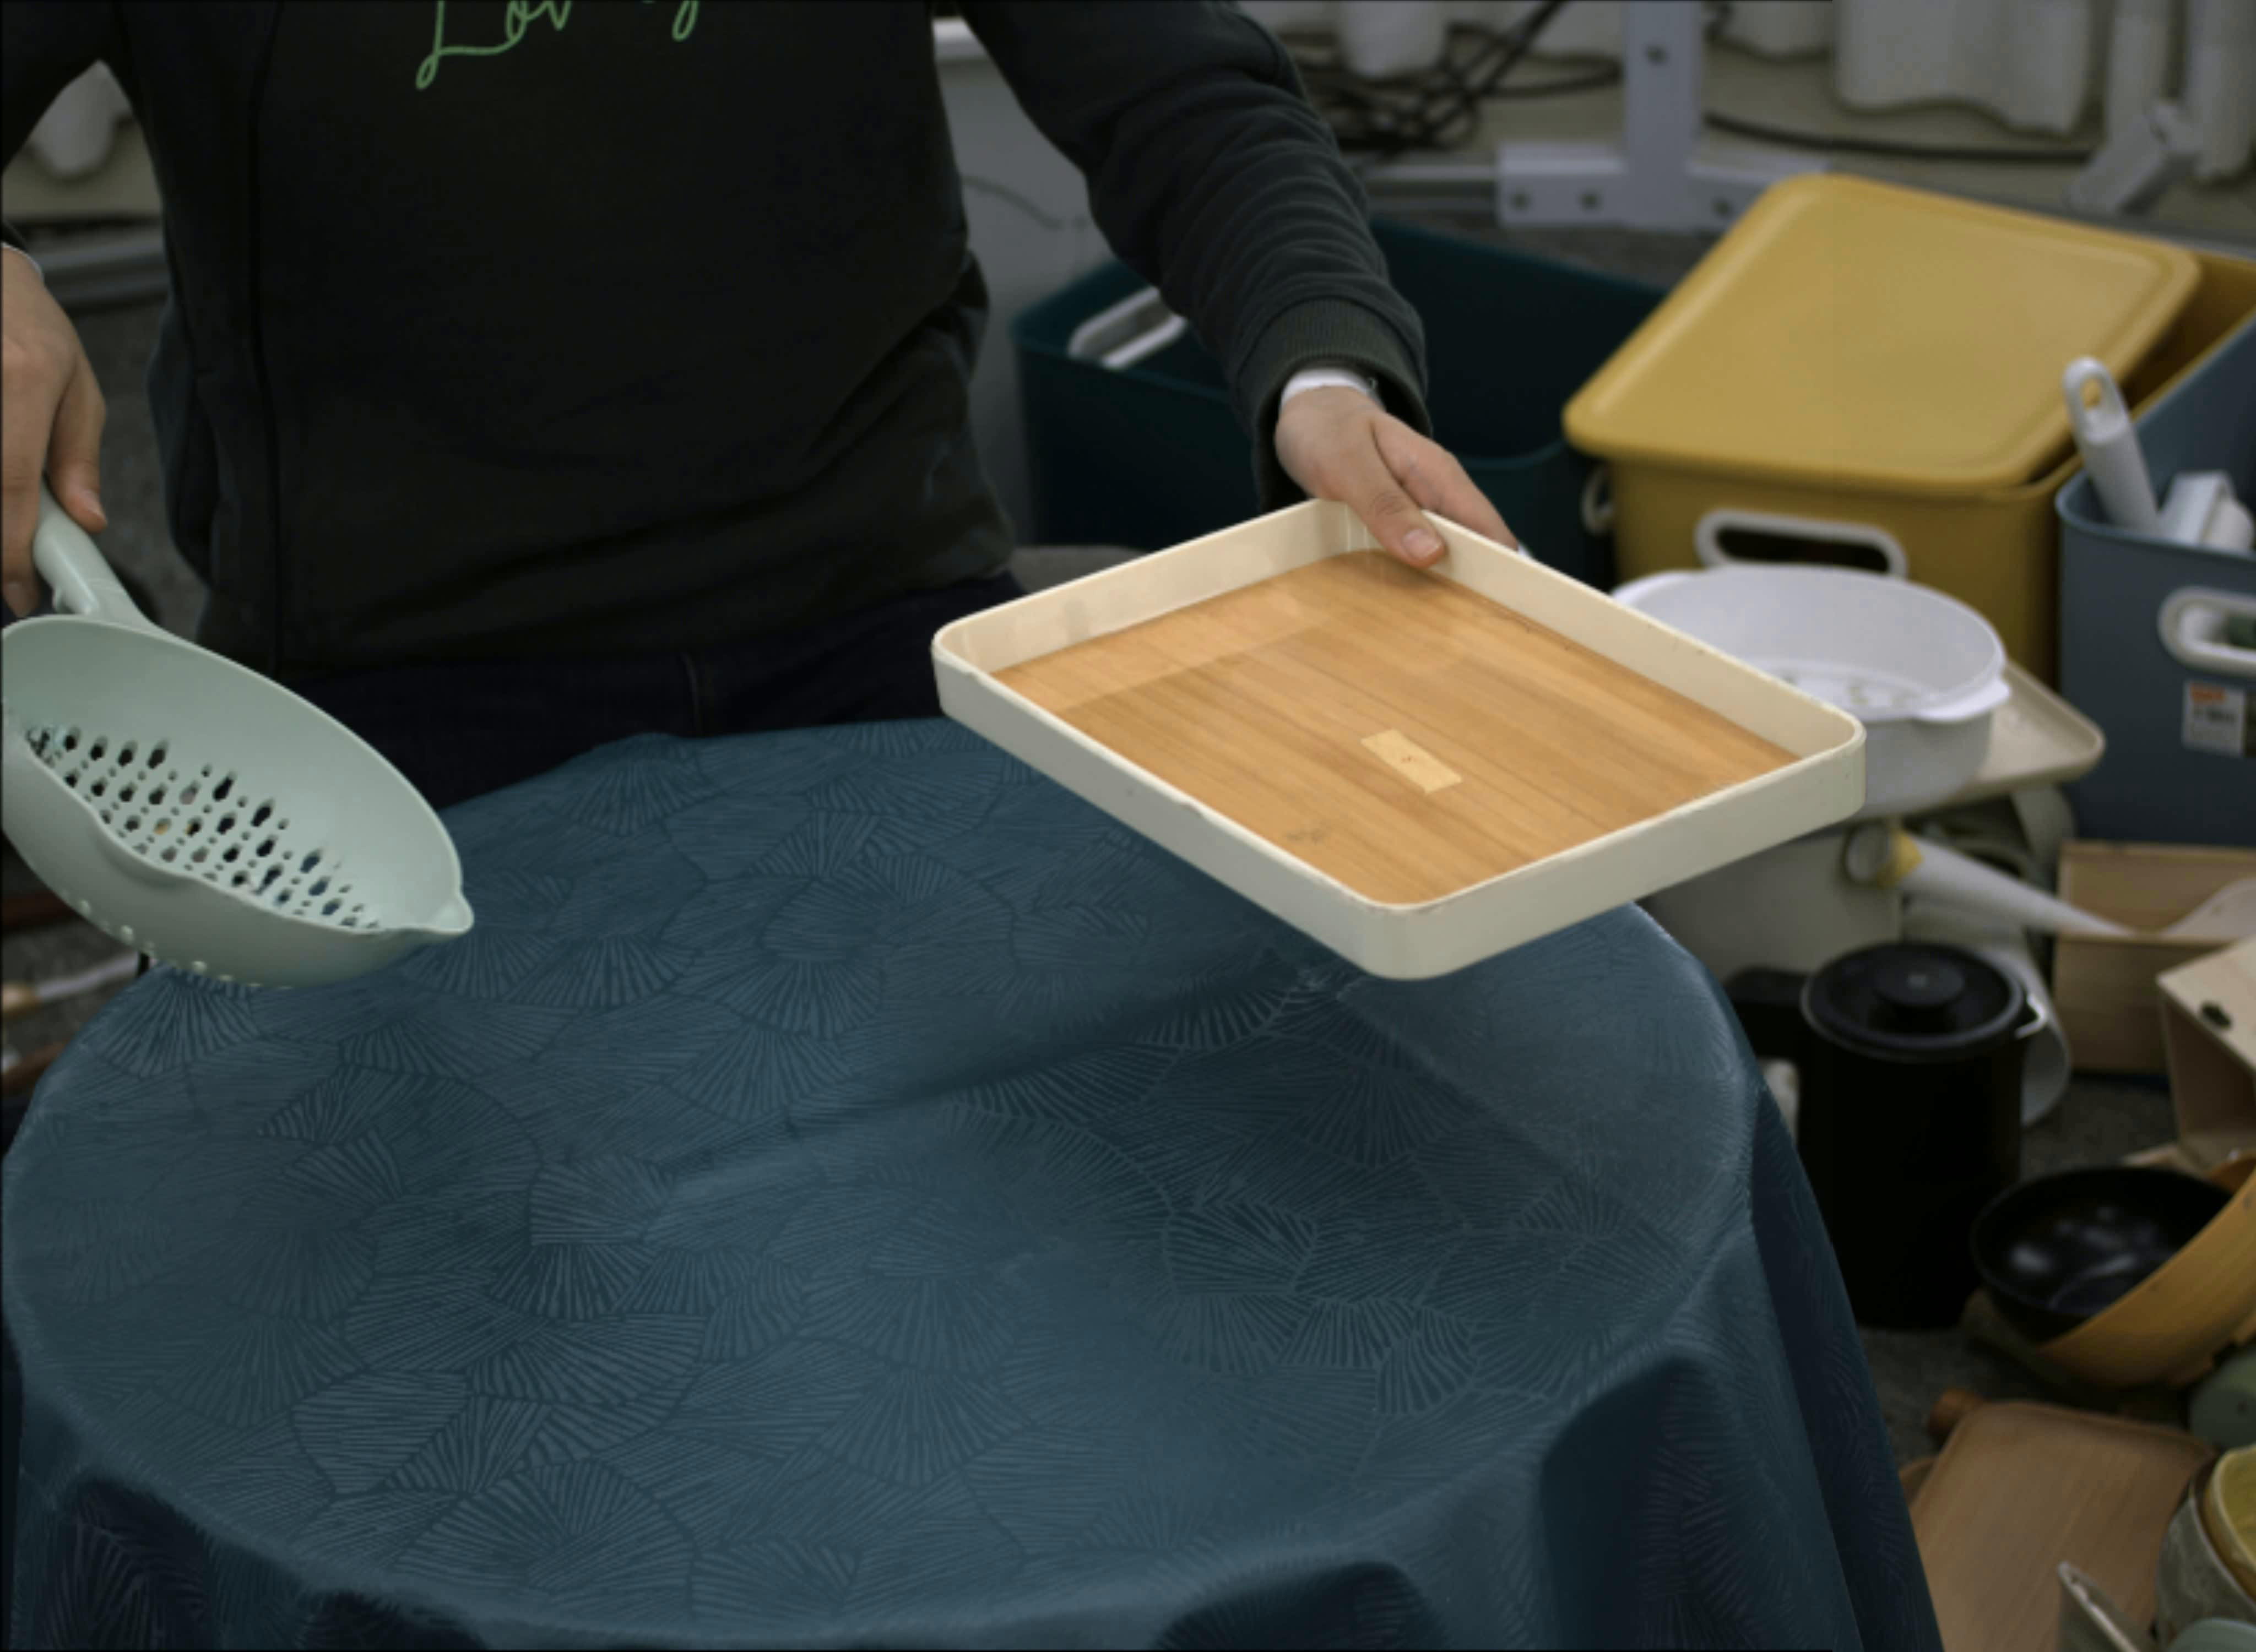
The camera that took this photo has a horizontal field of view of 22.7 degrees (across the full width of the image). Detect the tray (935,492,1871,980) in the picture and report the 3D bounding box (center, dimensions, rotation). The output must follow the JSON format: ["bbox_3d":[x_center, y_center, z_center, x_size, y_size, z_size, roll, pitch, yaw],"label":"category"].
[{"bbox_3d":[0.085,-0.035,1.853,0.193,0.027,0.301,-19,28,-25],"label":"tray"}]

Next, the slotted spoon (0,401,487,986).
[{"bbox_3d":[-0.338,-0.062,1.866,0.169,0.074,0.363,17,30,-42],"label":"slotted spoon"}]
